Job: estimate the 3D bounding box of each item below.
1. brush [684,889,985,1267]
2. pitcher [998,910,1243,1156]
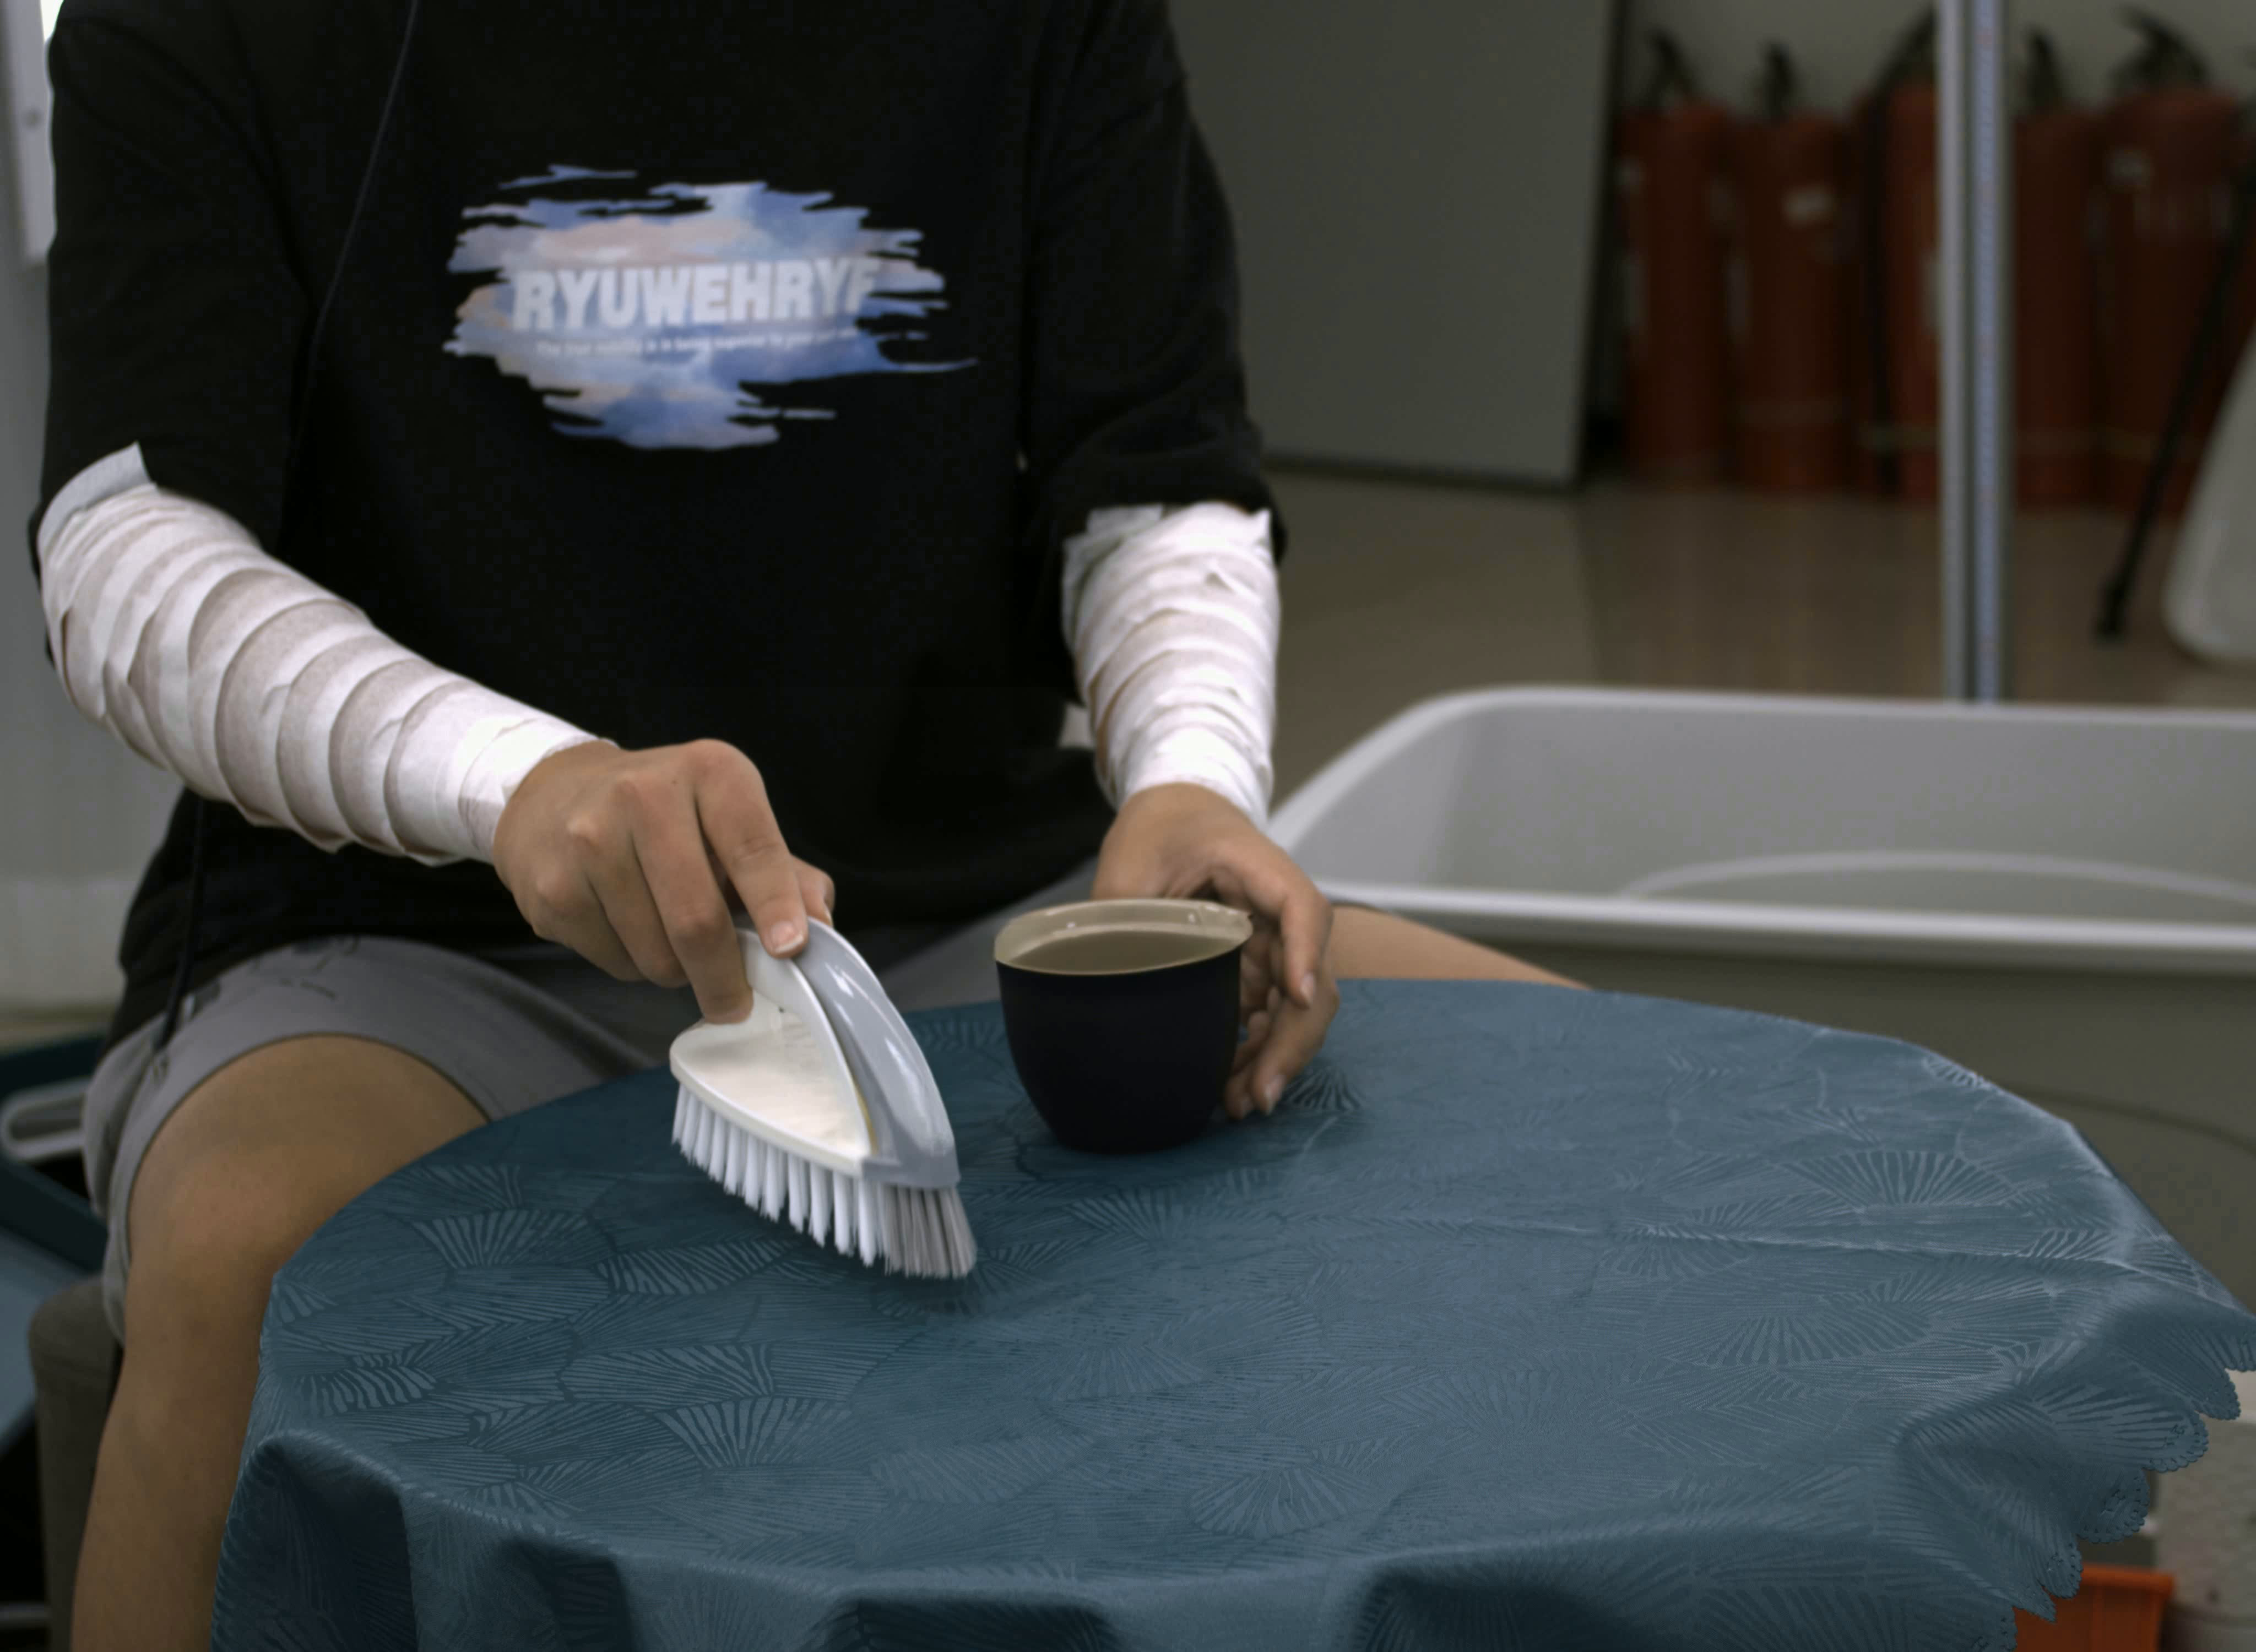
[{"bbox_3d":[-0.091,0.075,1.720,0.060,0.095,0.177,-17,22,-21],"label":"brush"},{"bbox_3d":[0.001,0.070,1.828,0.094,0.072,0.084,-9,13,-34],"label":"pitcher"}]
